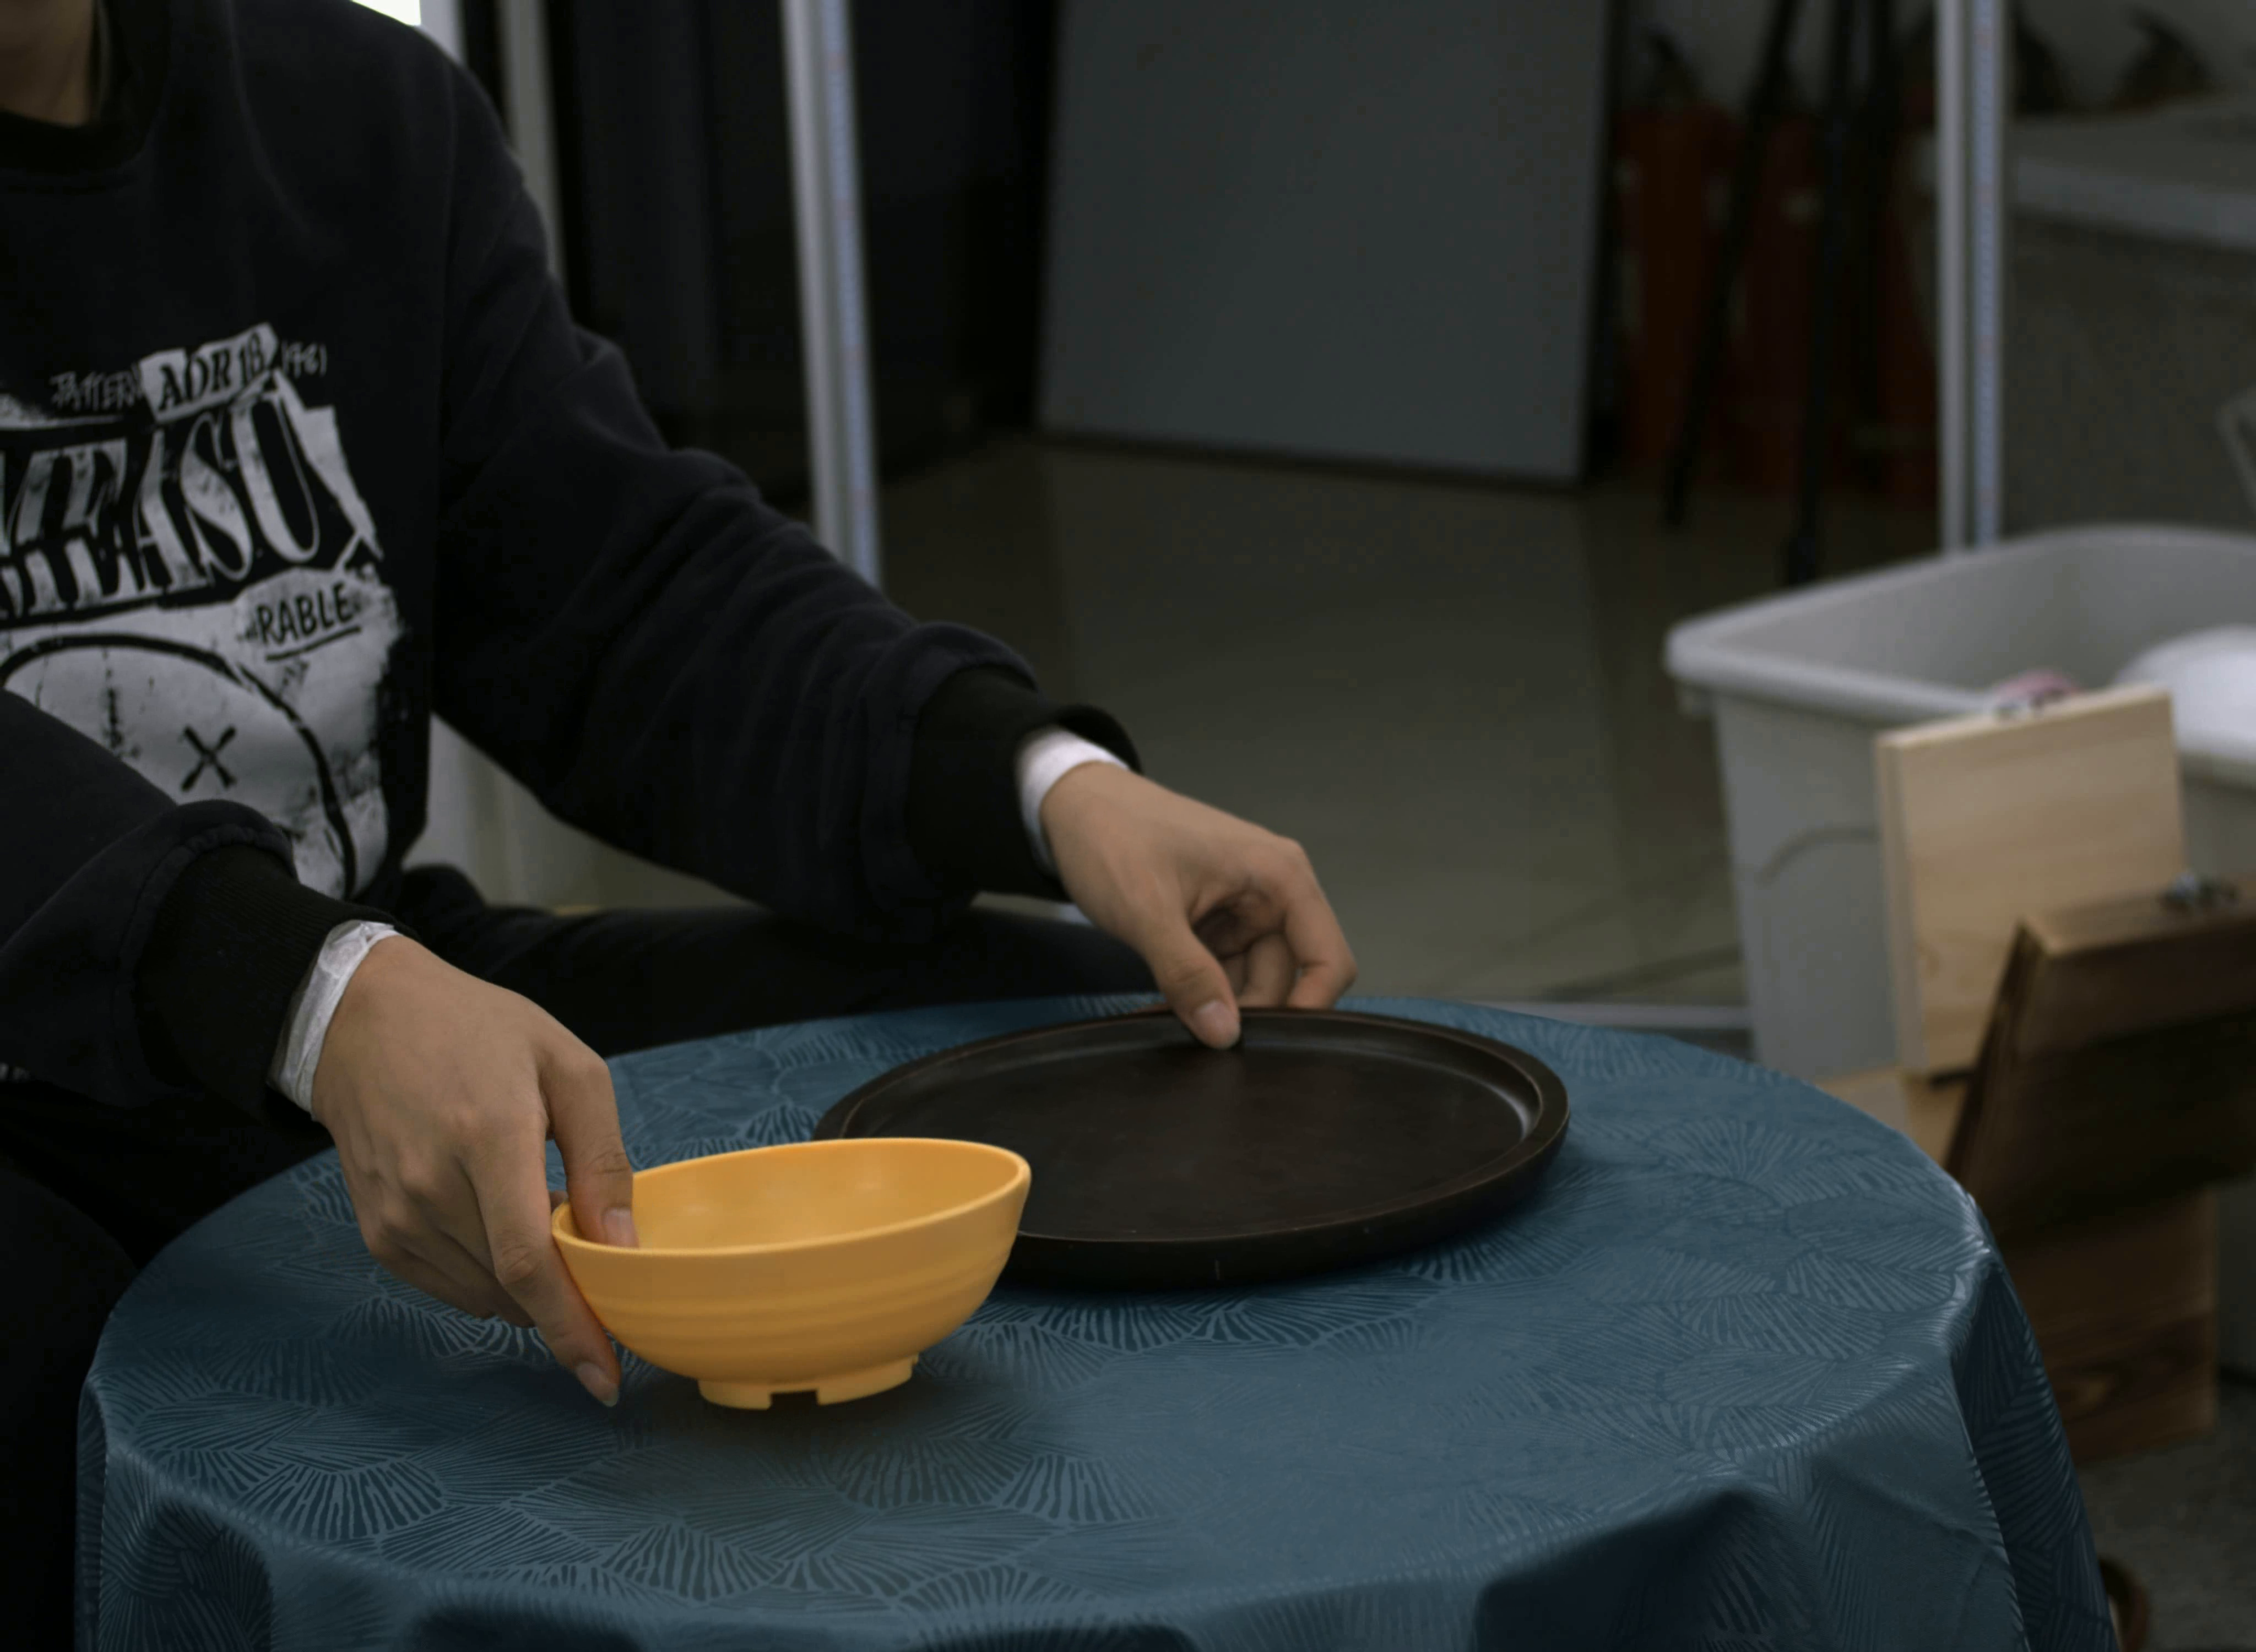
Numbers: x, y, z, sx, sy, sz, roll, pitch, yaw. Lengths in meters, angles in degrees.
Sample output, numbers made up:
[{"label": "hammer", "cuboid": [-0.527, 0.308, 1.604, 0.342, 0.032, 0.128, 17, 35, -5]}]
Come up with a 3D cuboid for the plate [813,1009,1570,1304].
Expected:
[{"label": "plate", "cuboid": [0.022, 0.106, 1.778, 0.251, 0.029, 0.255, -6, 14, 1]}]

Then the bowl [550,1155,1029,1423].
[{"label": "bowl", "cuboid": [-0.097, 0.139, 1.598, 0.143, 0.061, 0.145, -6, 7, 0]}]
